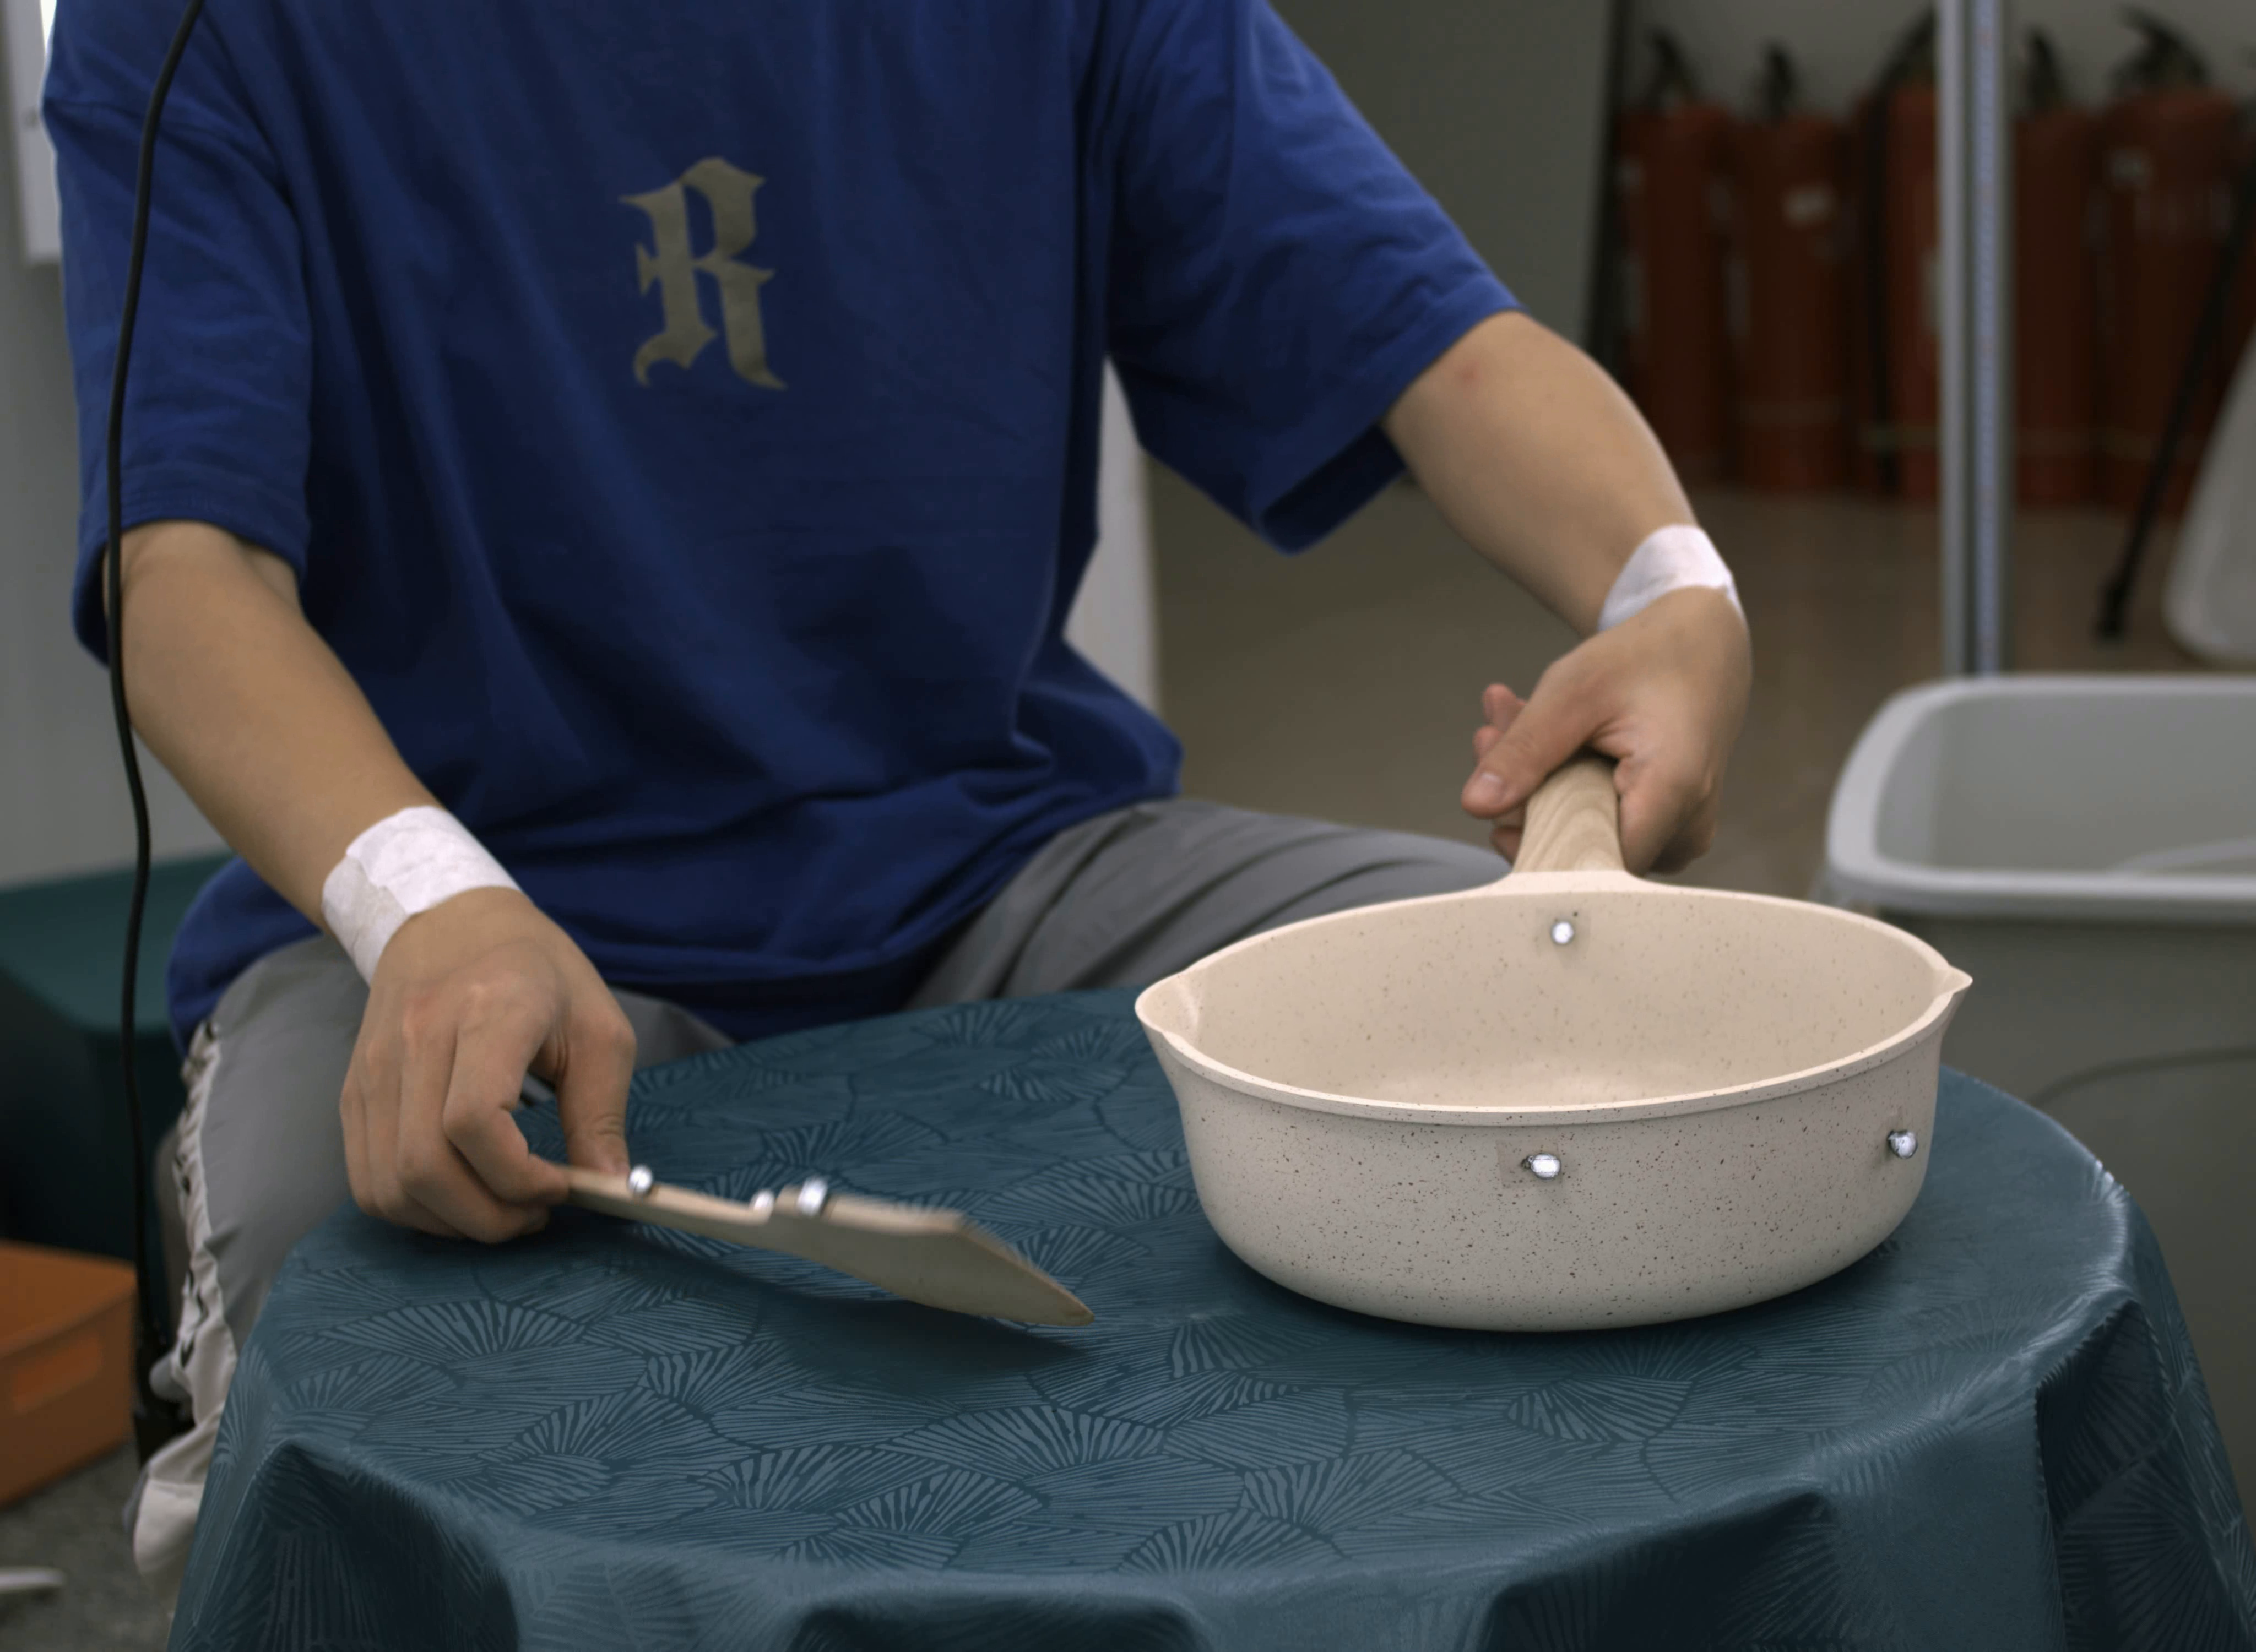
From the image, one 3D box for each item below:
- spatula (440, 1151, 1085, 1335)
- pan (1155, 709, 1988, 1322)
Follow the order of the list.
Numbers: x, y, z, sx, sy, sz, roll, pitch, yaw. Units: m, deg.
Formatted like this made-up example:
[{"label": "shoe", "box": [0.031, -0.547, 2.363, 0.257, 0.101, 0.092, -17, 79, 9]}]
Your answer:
[{"label": "spatula", "box": [-0.130, 0.127, 1.710, 0.071, 0.011, 0.296, 31, -15, -38]}, {"label": "pan", "box": [0.148, 0.058, 1.774, 0.261, 0.103, 0.434, -4, 13, 6]}]
